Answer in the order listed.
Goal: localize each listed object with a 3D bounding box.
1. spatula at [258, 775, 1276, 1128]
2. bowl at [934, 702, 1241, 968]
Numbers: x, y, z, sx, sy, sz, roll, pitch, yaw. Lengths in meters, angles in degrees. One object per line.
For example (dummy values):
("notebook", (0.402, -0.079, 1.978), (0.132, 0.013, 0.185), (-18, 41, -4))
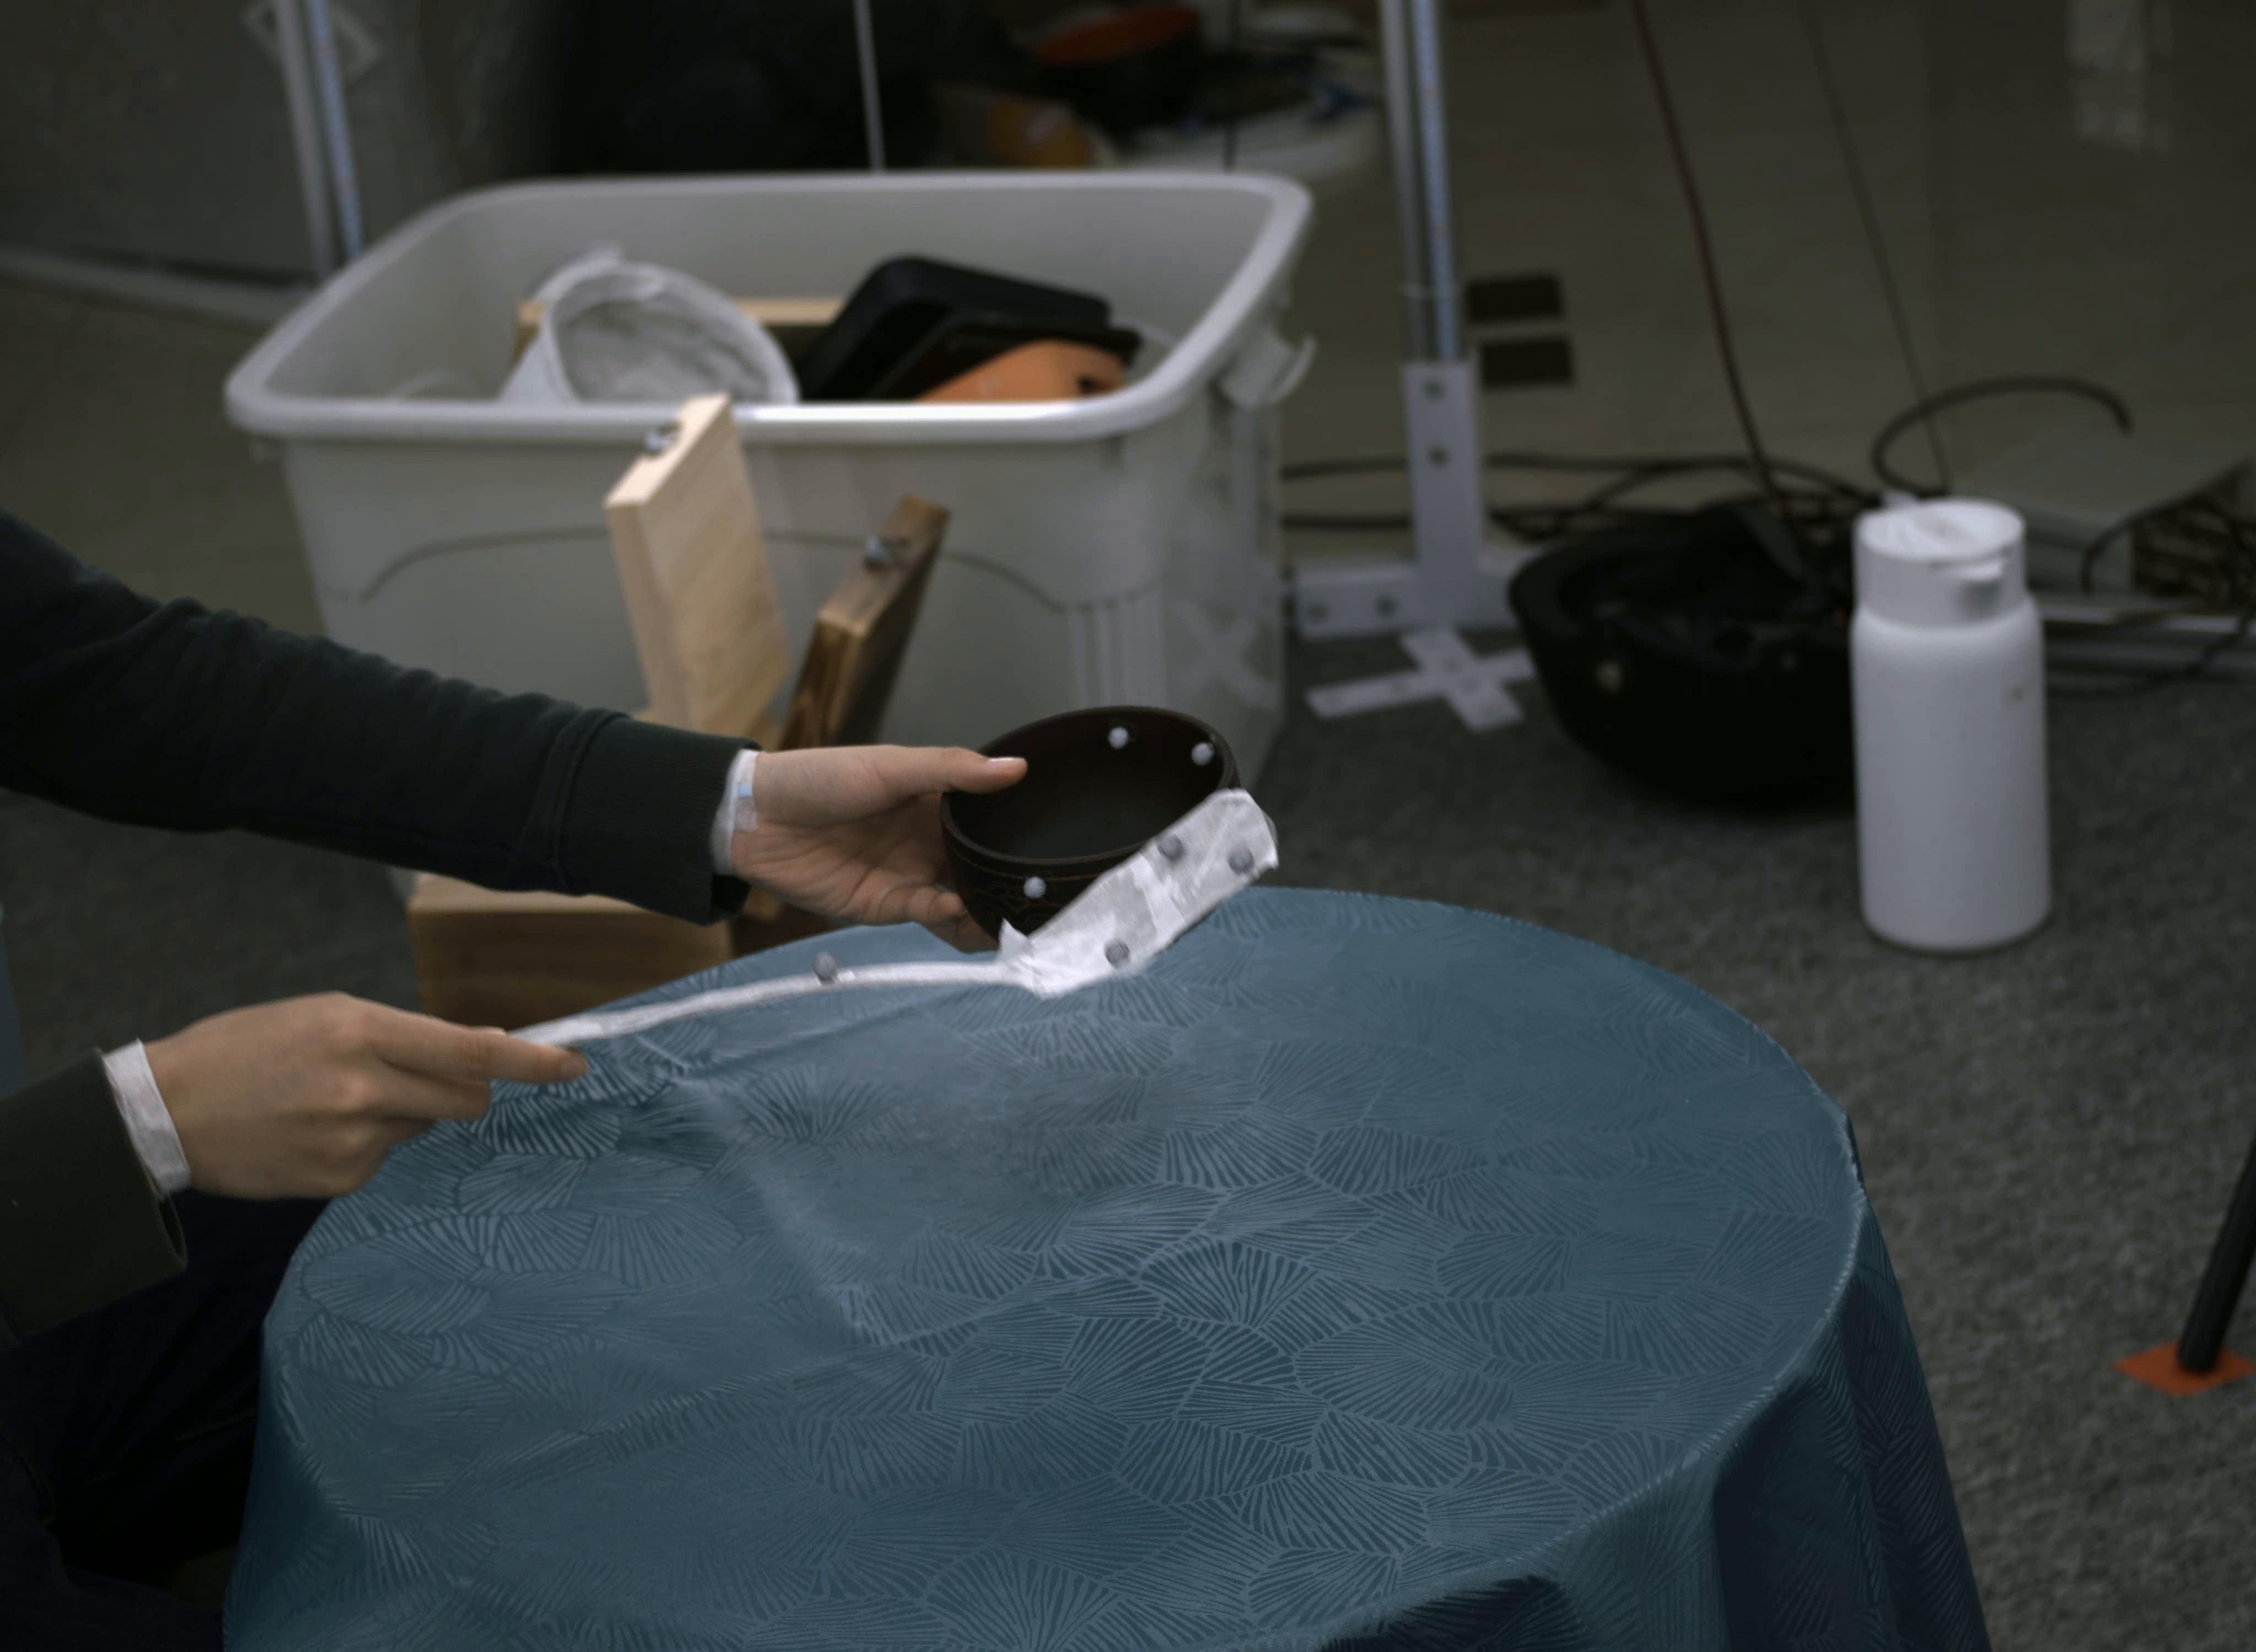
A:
("spatula", (-0.125, 0.050, 1.934), (0.364, 0.045, 0.097), (-11, 21, 0))
("bowl", (-0.012, 0.011, 2.174), (0.118, 0.071, 0.116), (-9, 31, 5))
